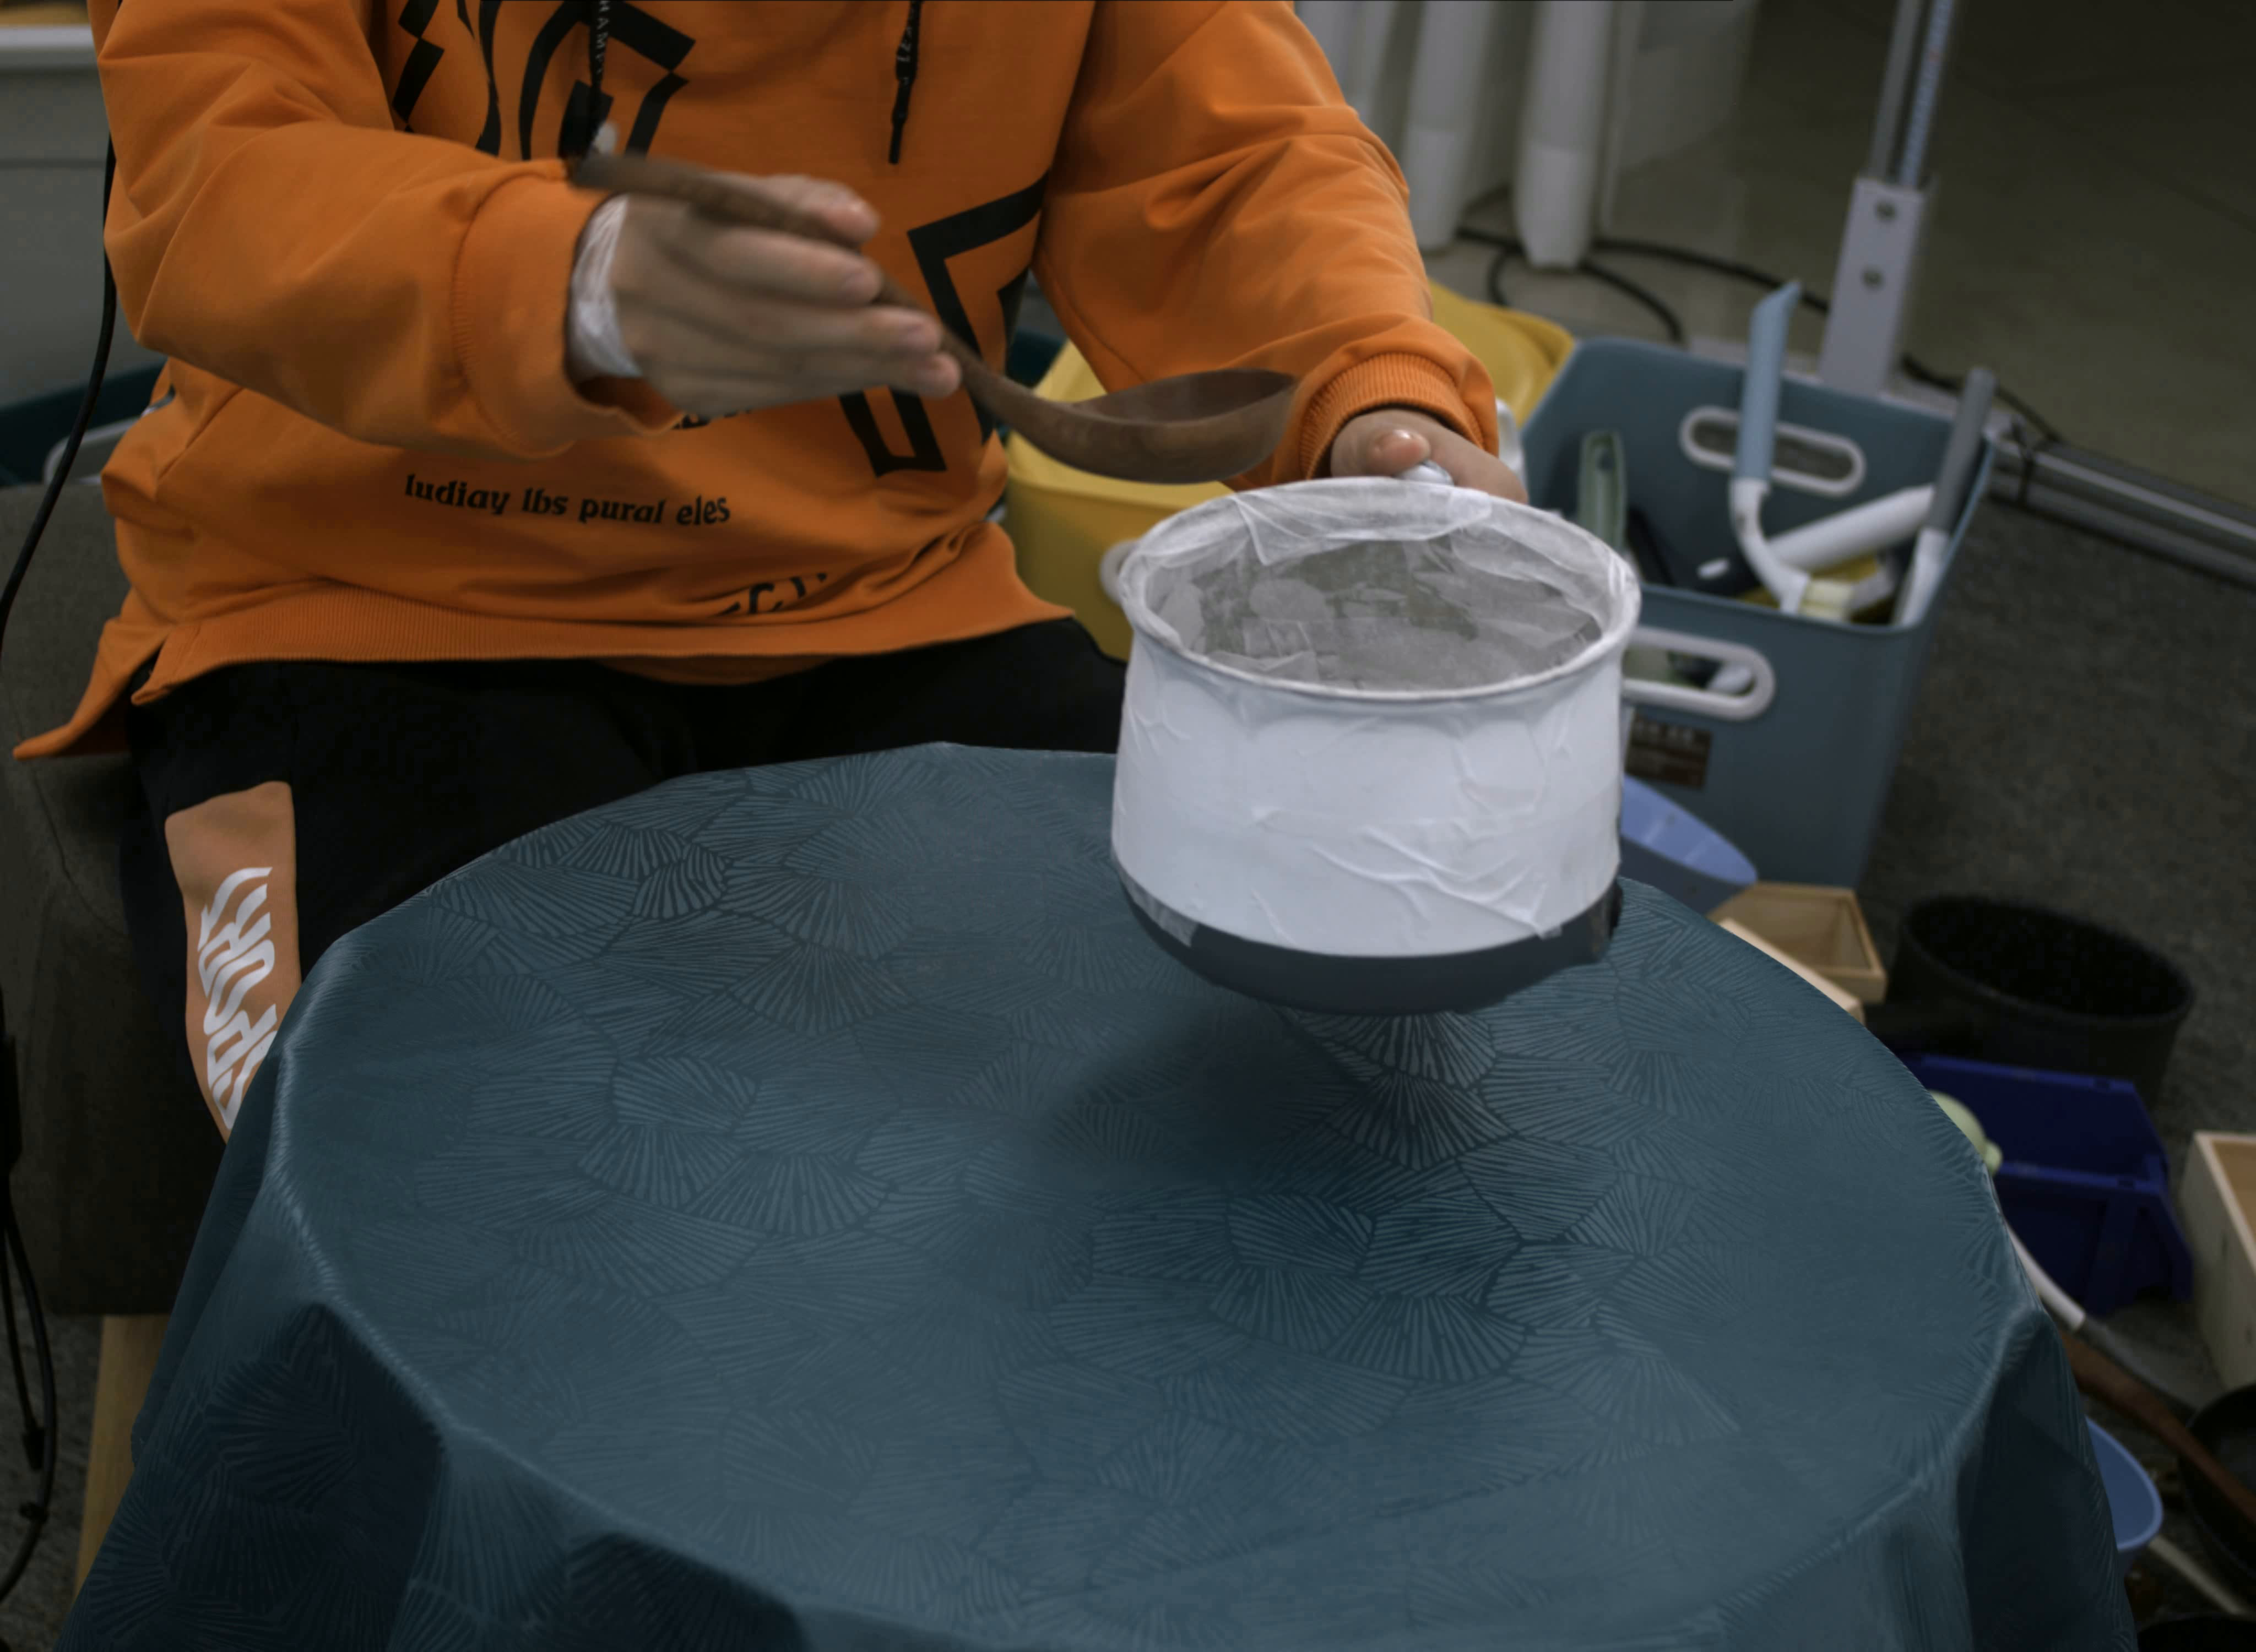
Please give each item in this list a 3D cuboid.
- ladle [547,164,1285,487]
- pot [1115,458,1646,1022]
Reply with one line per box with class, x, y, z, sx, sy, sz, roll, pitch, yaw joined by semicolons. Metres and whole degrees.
ladle;-0.065;-0.174;1.725;0.258;0.065;0.077;27;-4;-23
pot;0.089;-0.037;1.846;0.178;0.136;0.234;6;27;8
